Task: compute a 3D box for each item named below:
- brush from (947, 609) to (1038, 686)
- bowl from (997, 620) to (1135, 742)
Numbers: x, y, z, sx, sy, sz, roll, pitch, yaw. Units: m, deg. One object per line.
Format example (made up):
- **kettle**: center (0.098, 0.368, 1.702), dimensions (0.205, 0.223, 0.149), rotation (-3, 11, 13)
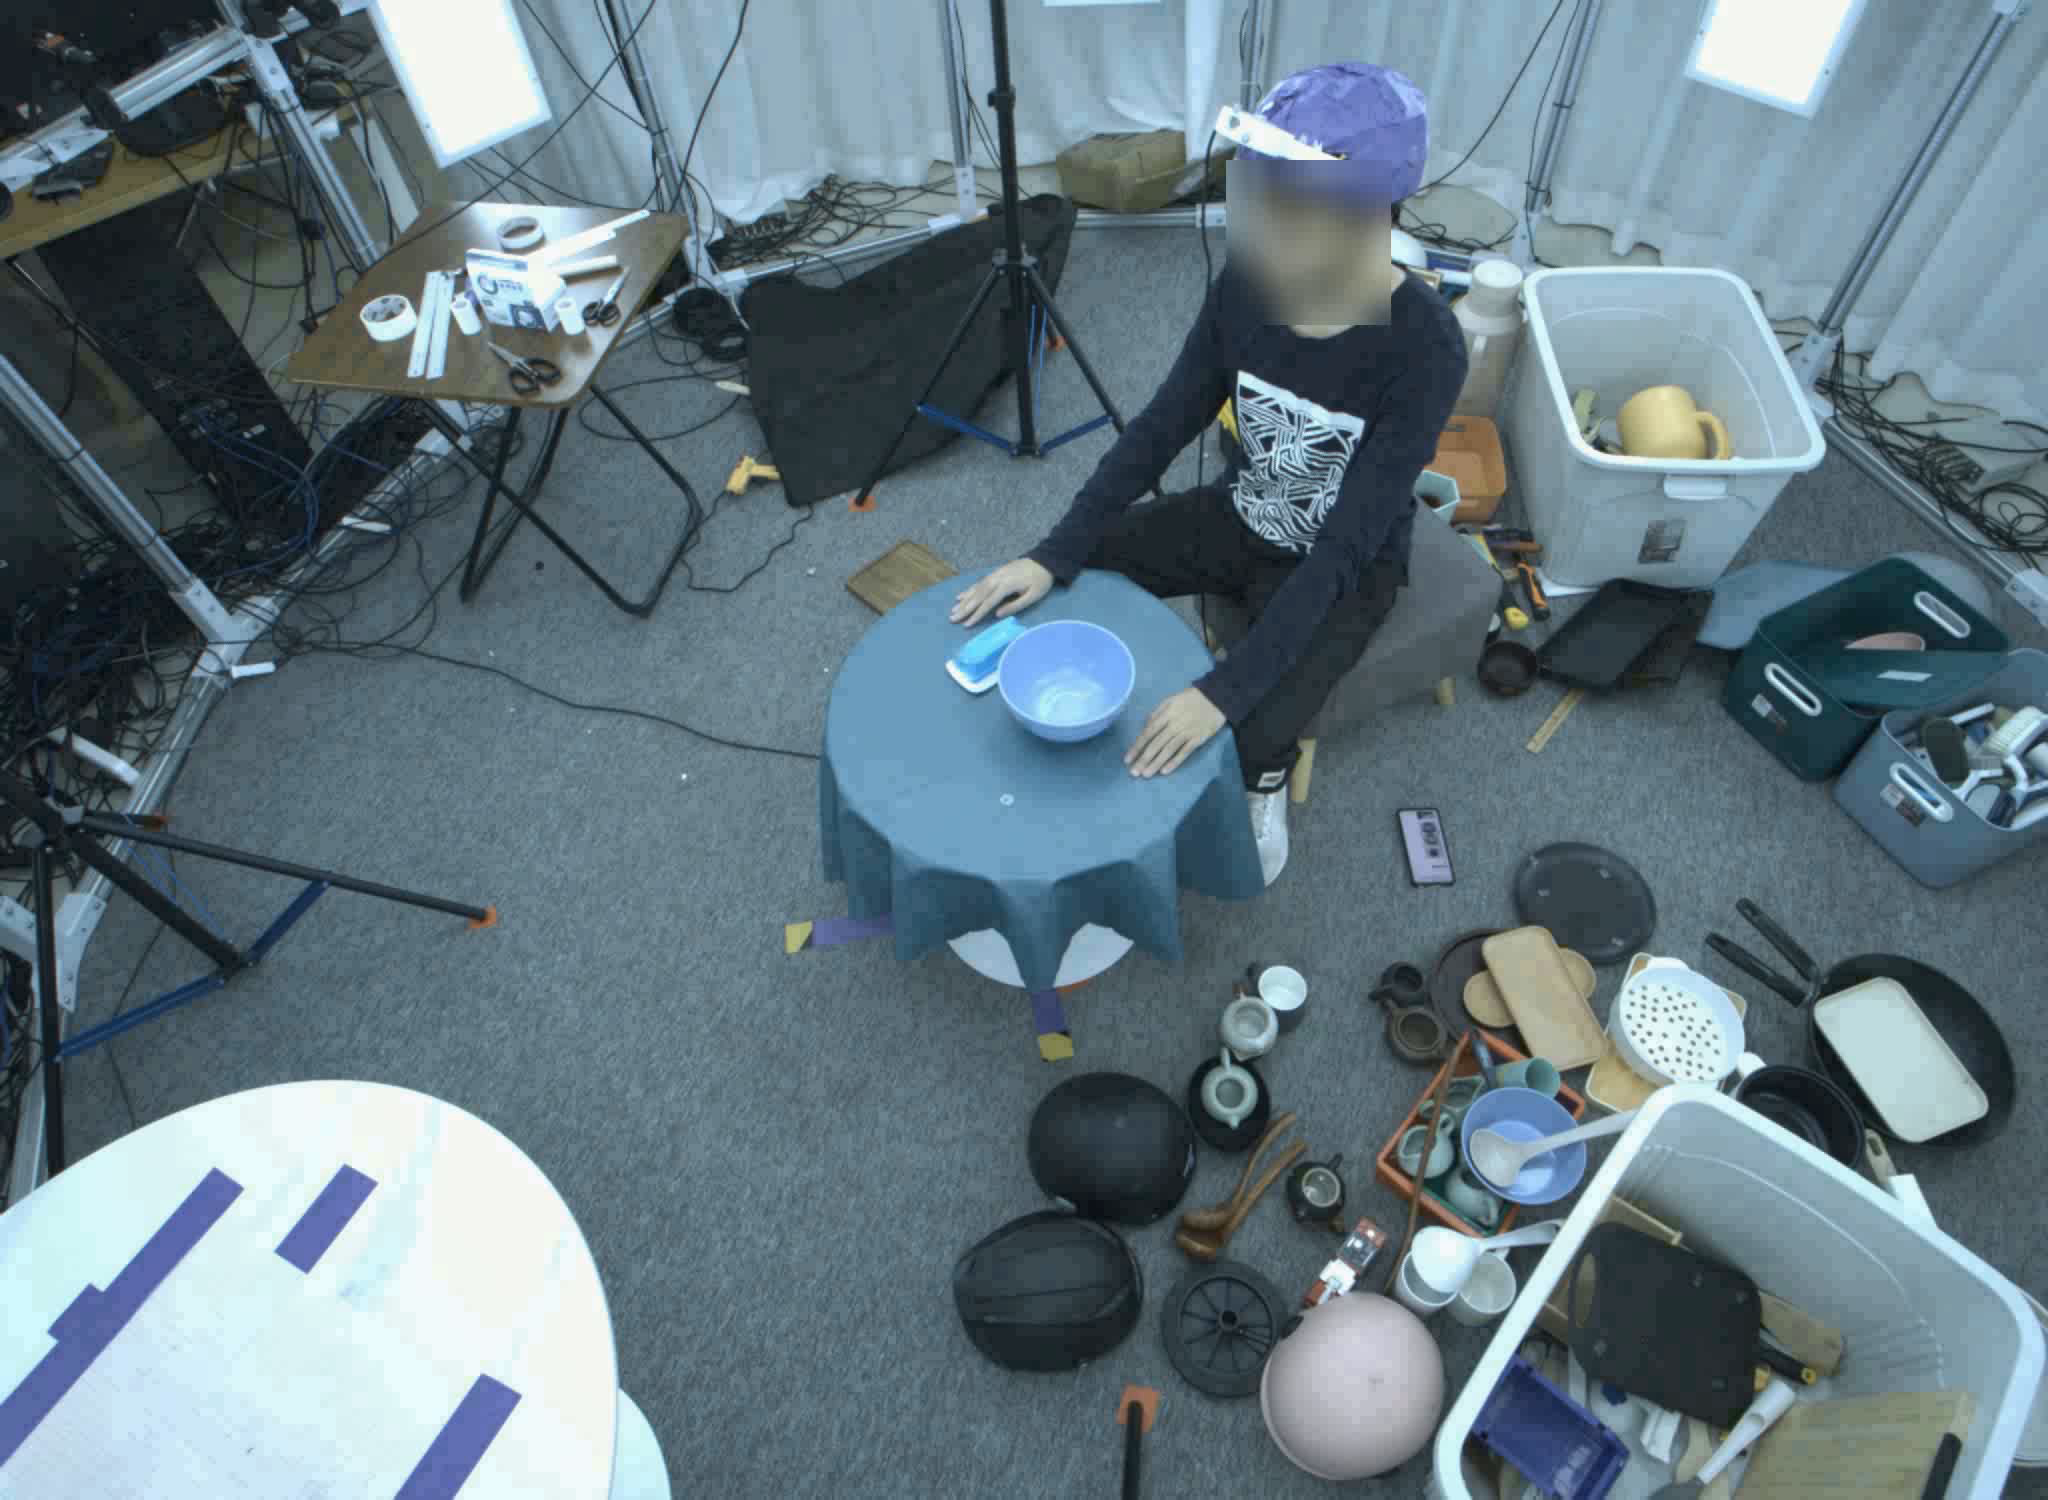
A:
- **brush**: center (-0.044, -0.162, 1.858), dimensions (0.145, 0.056, 0.082), rotation (-36, 65, -17)
- **bowl**: center (0.062, -0.084, 1.780), dimensions (0.196, 0.096, 0.194), rotation (-1, 55, 2)
